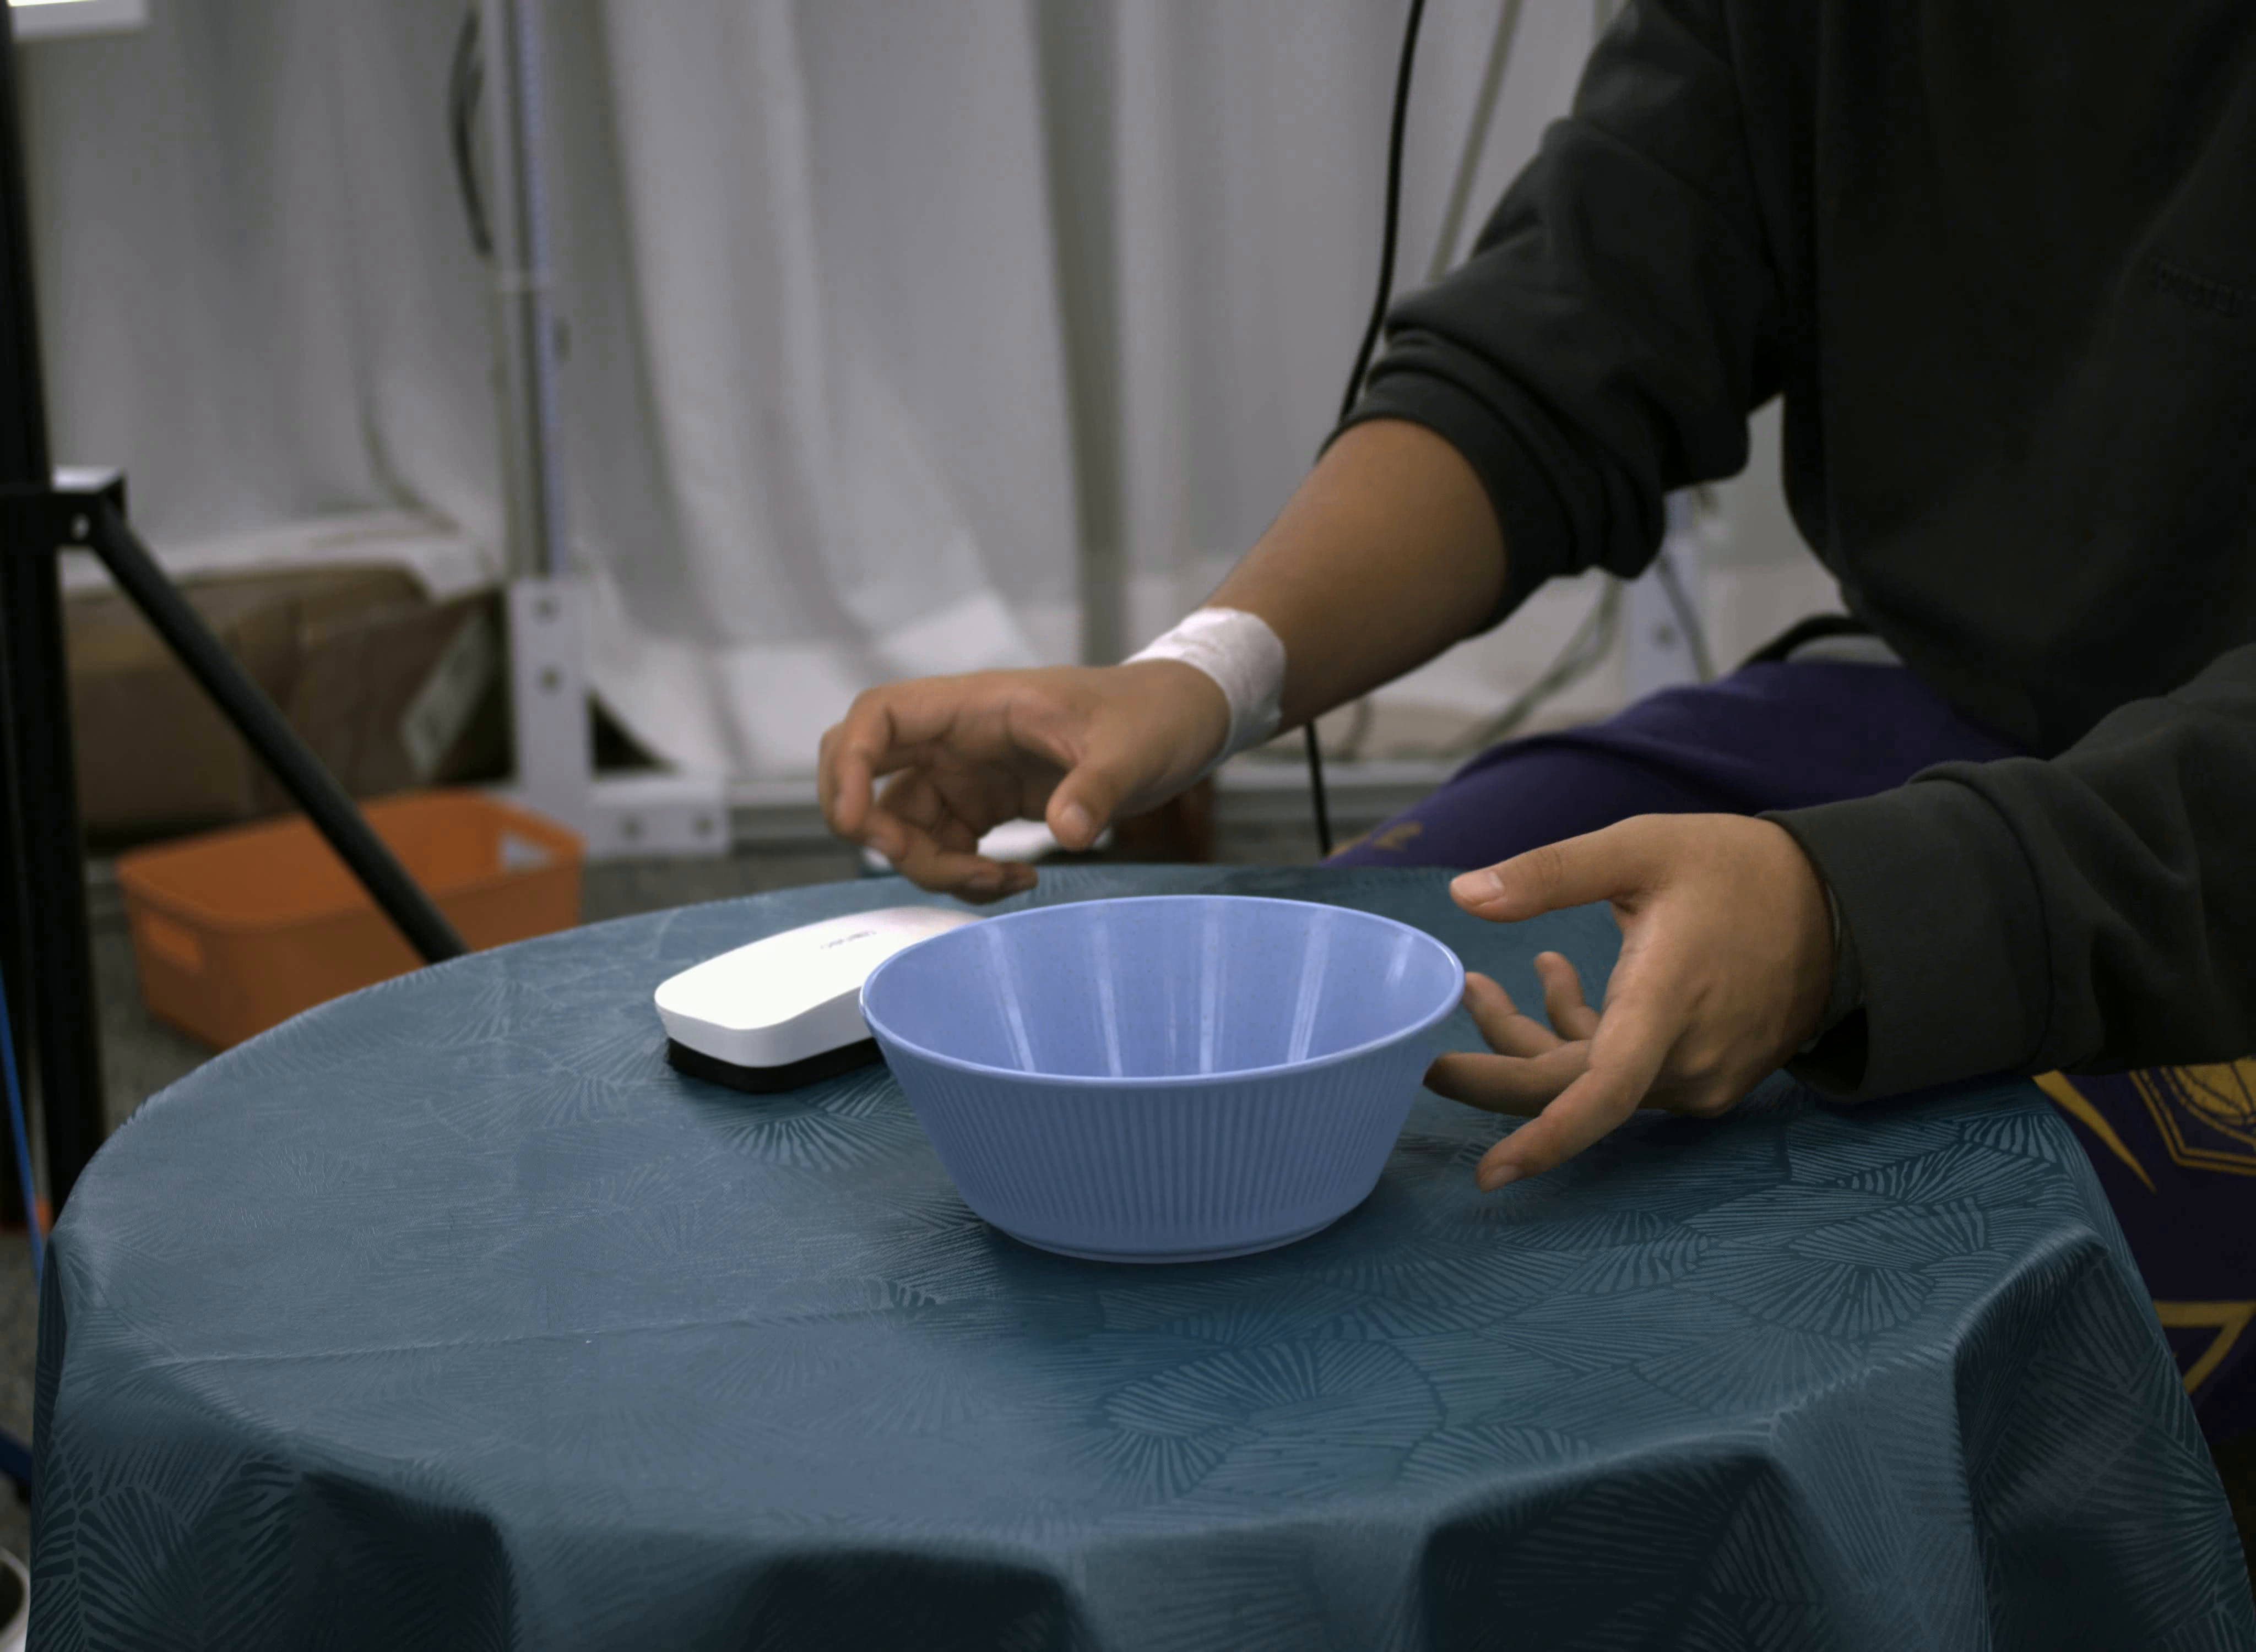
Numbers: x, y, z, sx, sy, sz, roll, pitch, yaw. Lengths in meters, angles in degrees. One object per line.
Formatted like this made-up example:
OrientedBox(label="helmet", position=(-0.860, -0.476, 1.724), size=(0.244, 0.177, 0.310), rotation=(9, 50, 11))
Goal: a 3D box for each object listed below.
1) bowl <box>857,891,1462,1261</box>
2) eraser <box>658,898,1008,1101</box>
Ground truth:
OrientedBox(label="bowl", position=(0.010, 0.075, 1.543), size=(0.175, 0.070, 0.177), rotation=(-2, 17, -1))
OrientedBox(label="eraser", position=(-0.086, 0.052, 1.712), size=(0.128, 0.034, 0.065), rotation=(-18, 23, -38))
